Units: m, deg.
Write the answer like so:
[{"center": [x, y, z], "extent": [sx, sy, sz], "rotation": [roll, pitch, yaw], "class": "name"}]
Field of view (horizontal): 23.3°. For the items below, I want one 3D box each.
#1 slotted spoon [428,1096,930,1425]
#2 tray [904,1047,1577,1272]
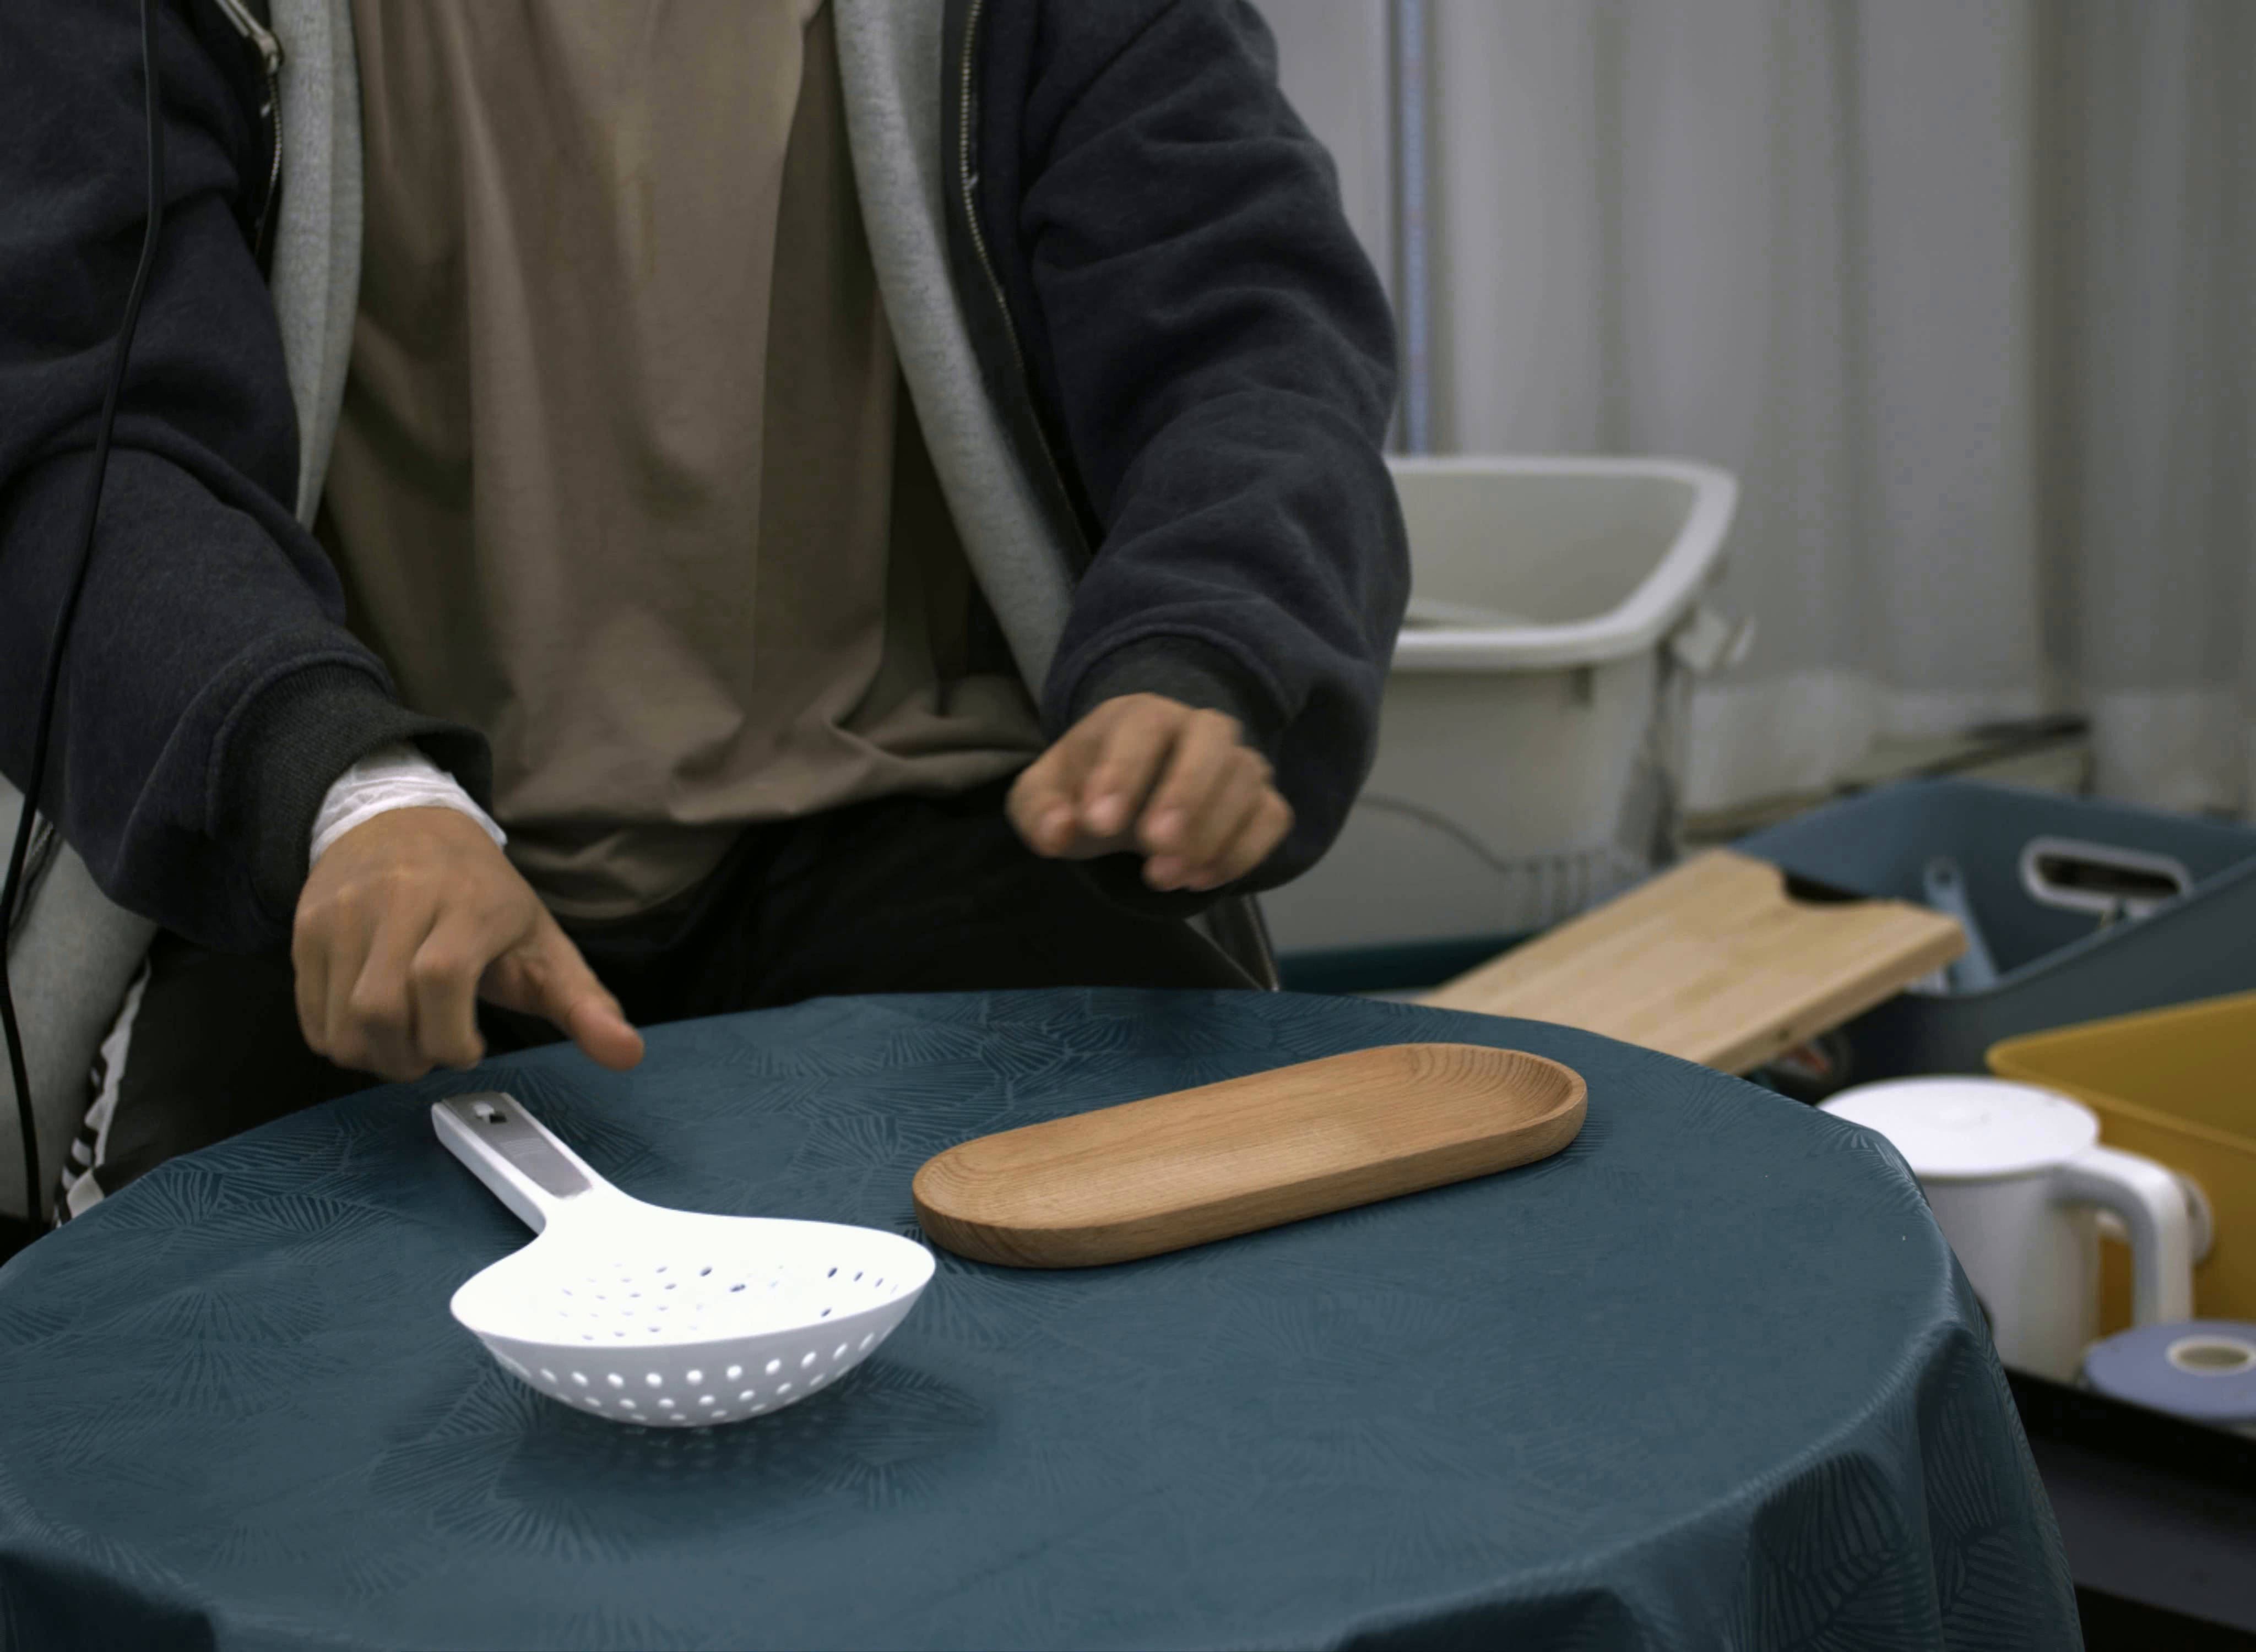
[{"center": [-0.160, 0.120, 1.638], "extent": [0.135, 0.045, 0.352], "rotation": [-6, 14, -19], "class": "slotted spoon"}, {"center": [0.037, 0.104, 1.717], "extent": [0.230, 0.020, 0.102], "rotation": [-13, 16, -29], "class": "tray"}]
